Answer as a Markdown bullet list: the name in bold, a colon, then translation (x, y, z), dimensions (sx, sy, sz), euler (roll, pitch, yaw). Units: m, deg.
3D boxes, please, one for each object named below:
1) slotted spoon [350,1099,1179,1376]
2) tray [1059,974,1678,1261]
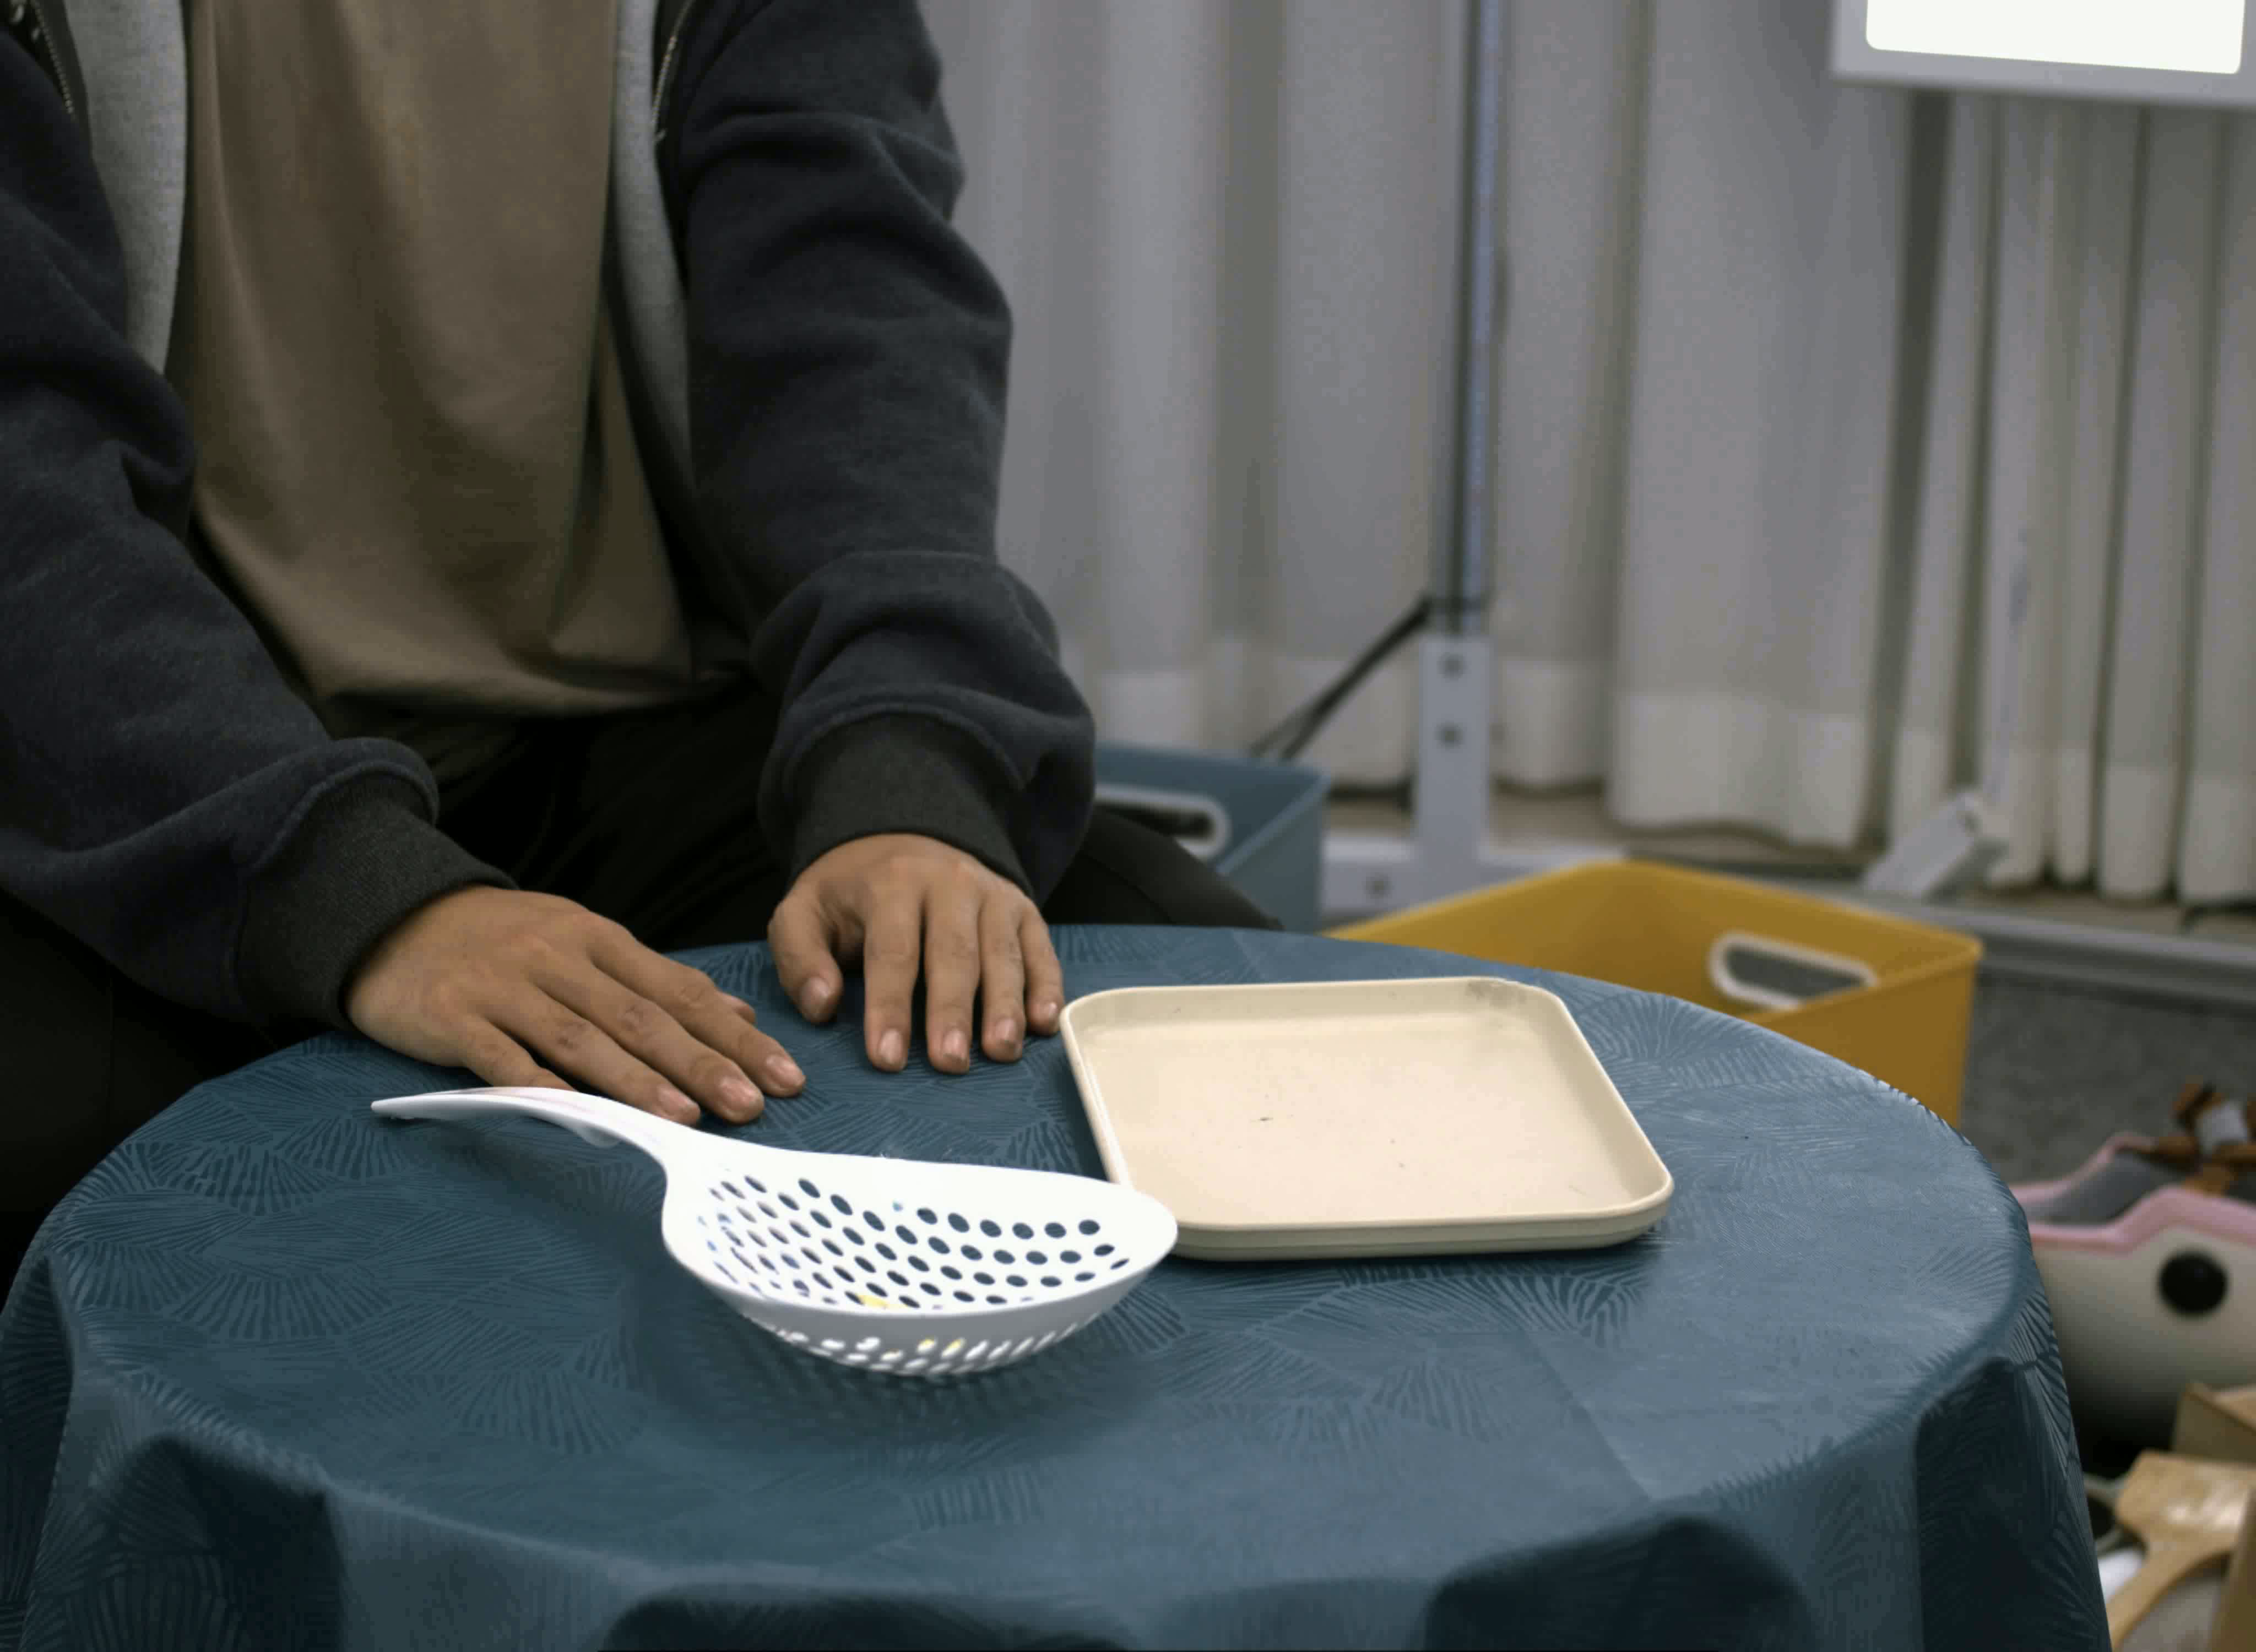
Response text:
- **slotted spoon**: translation (-0.126, 0.108, 1.556), dimensions (0.137, 0.051, 0.343), euler (-15, 22, -39)
- **tray**: translation (0.072, 0.091, 1.668), dimensions (0.171, 0.017, 0.238), euler (-2, 16, -6)
